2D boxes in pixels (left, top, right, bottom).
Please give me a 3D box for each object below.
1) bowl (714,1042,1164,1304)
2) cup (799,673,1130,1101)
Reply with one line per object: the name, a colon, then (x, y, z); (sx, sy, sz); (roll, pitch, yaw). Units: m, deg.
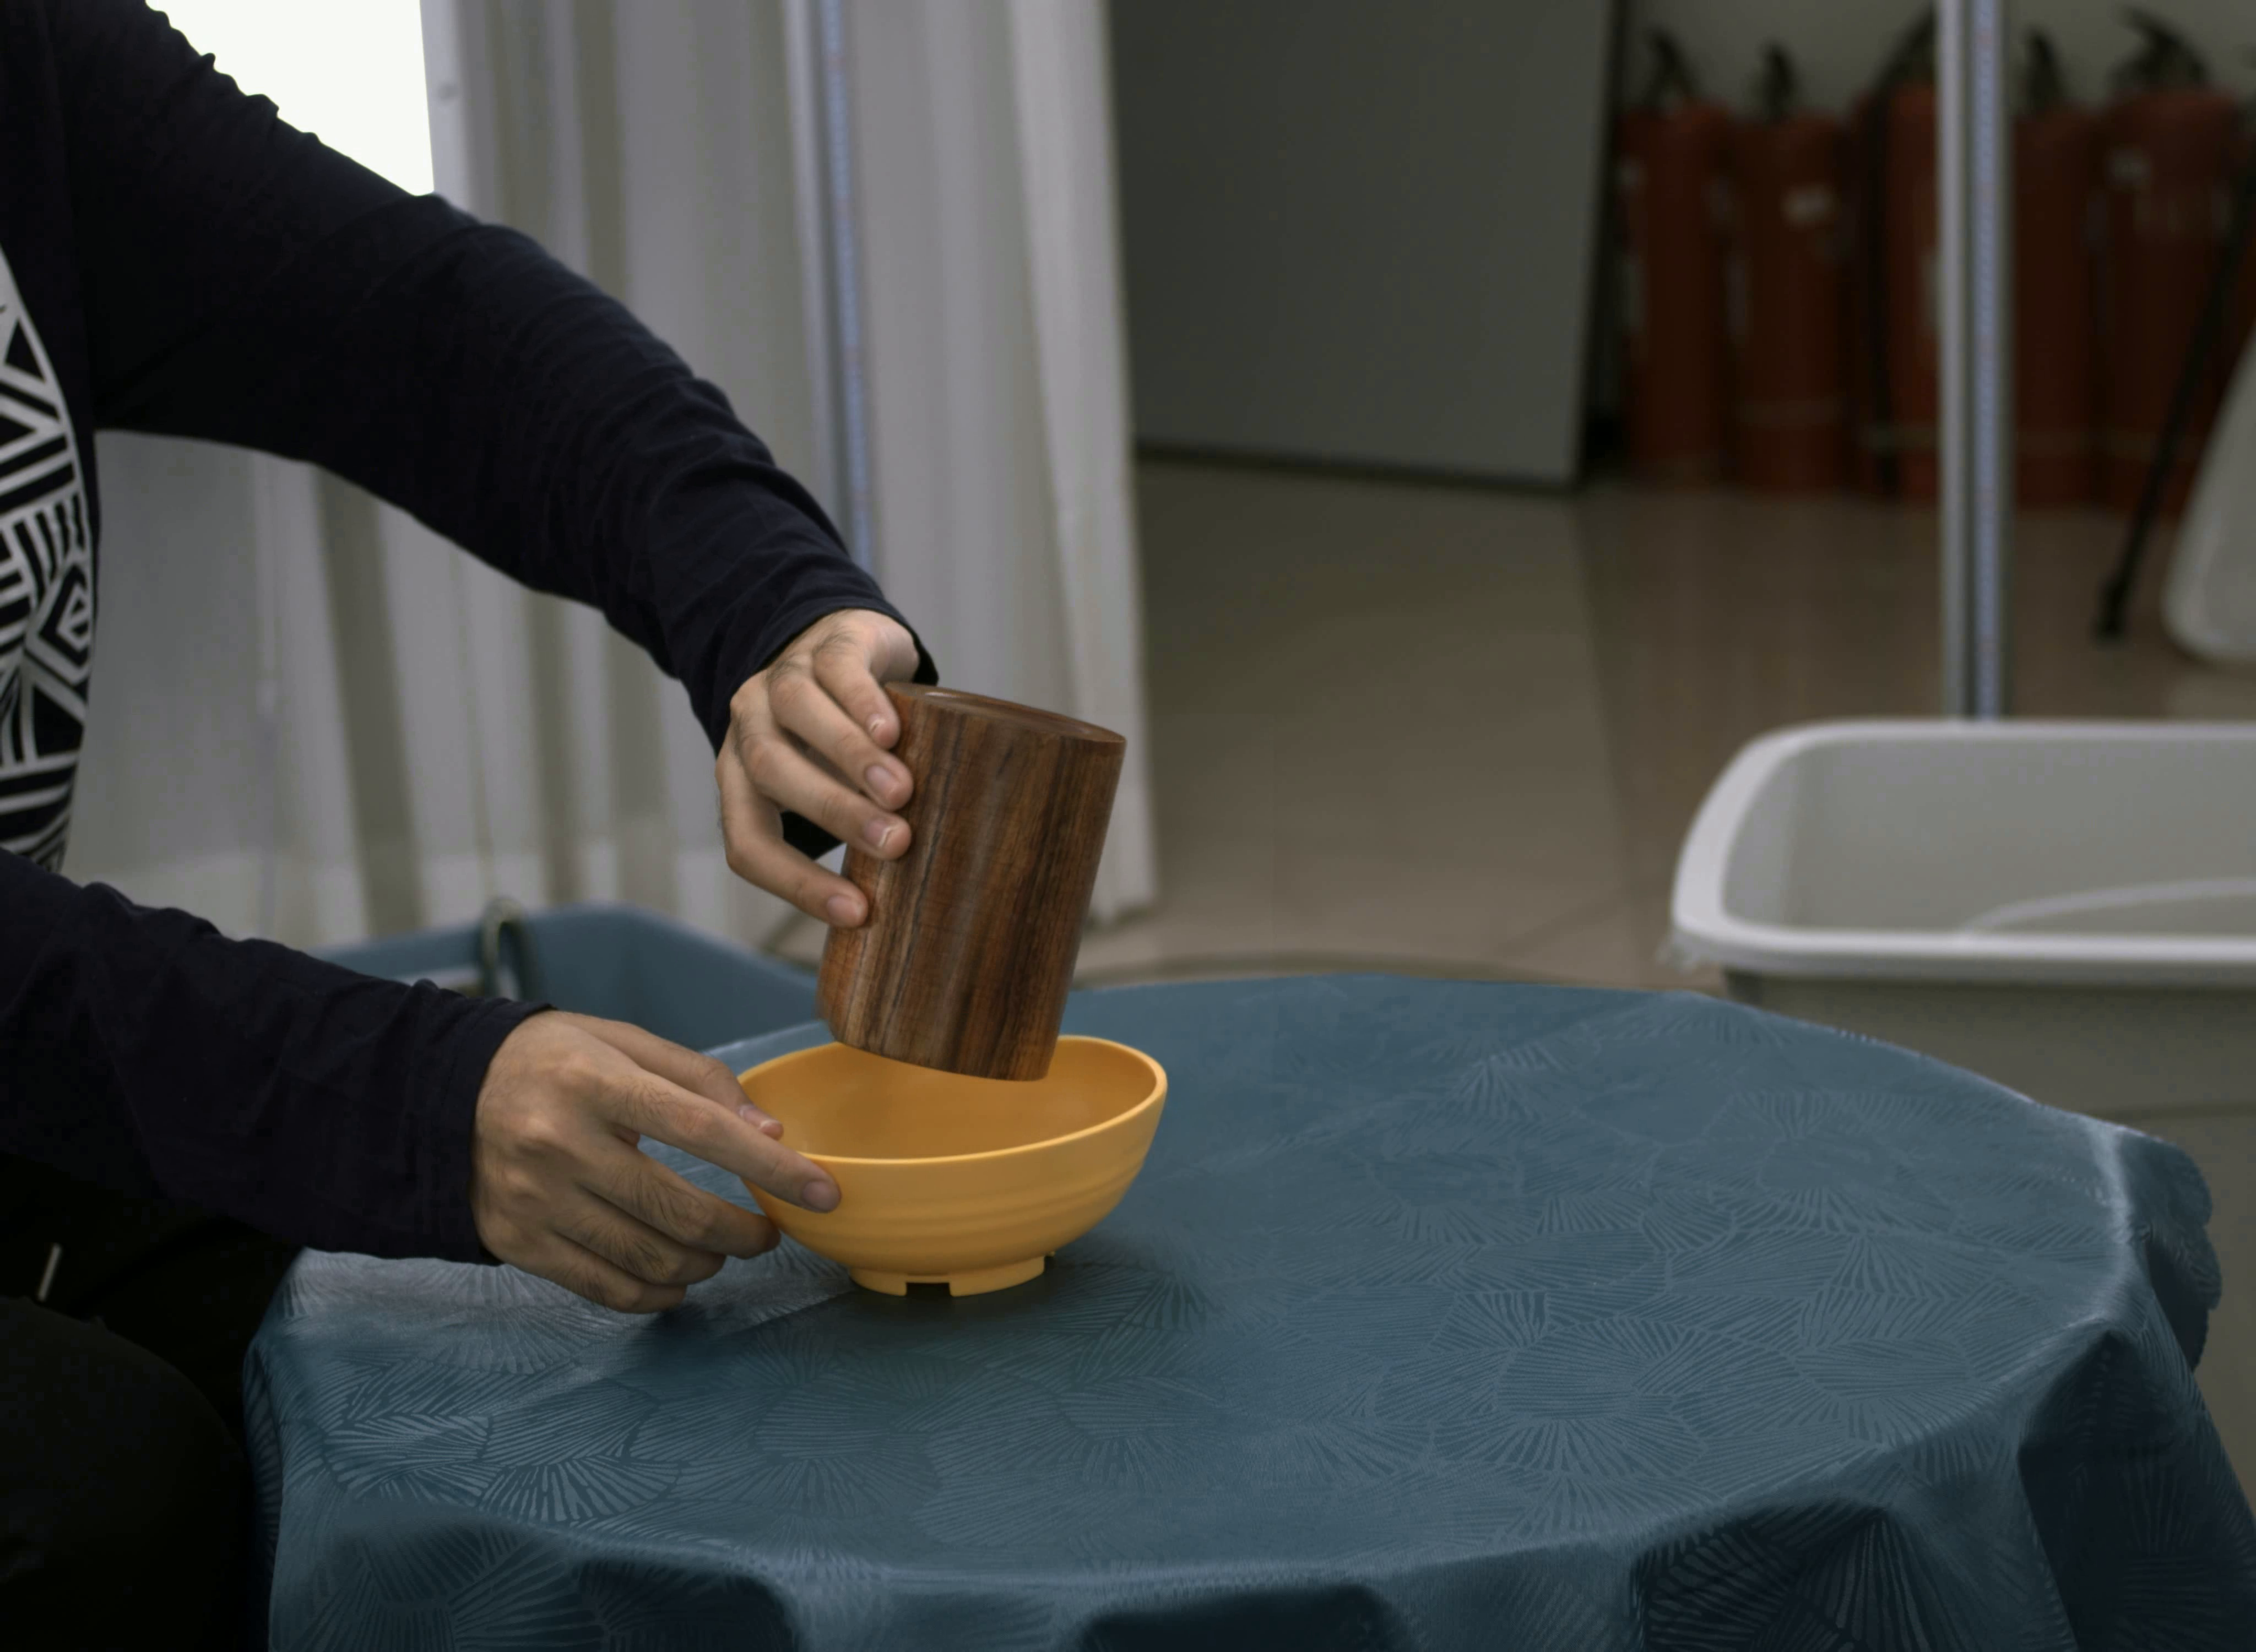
bowl: (-0.058, 0.113, 1.705); (0.143, 0.061, 0.145); (-4, 12, 0)
cup: (-0.049, 0.019, 1.697); (0.086, 0.120, 0.088); (14, 6, -2)
